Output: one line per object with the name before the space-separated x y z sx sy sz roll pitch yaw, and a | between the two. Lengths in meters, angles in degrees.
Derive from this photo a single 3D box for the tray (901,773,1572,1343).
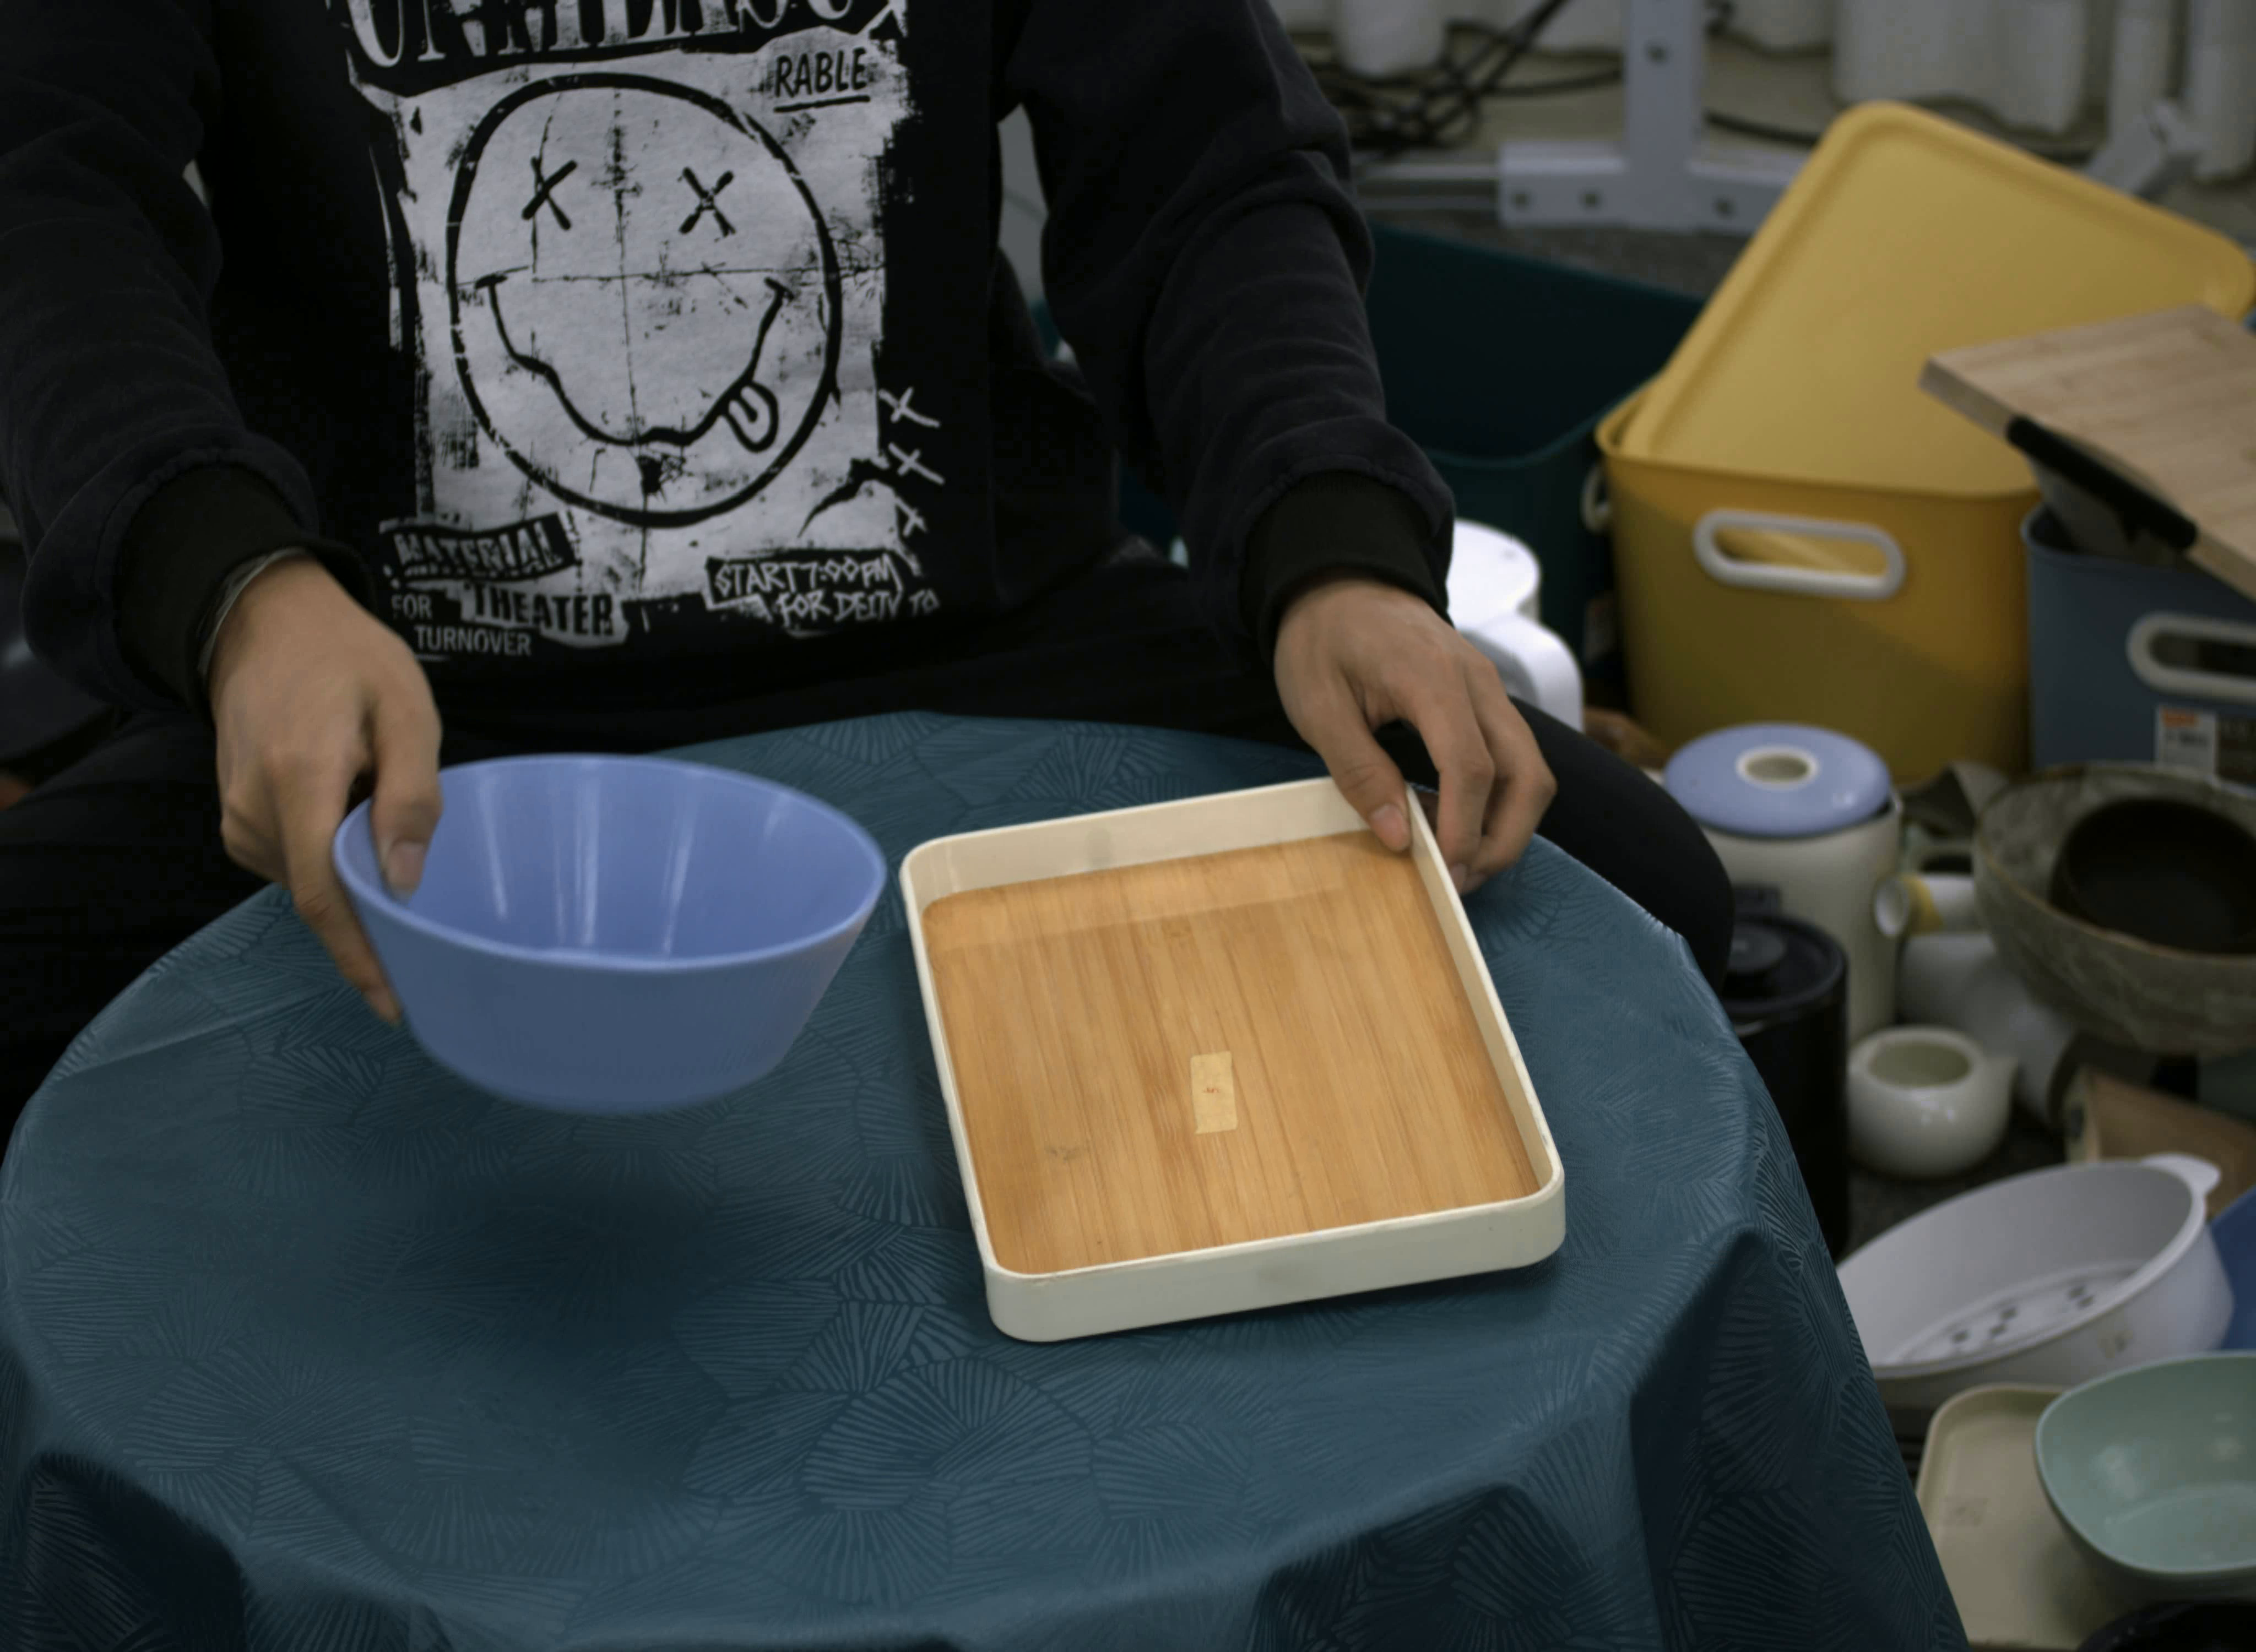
tray | 0.031 0.073 1.911 0.191 0.027 0.304 -9 28 -4

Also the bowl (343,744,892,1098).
bowl | -0.166 0.035 1.806 0.175 0.070 0.178 6 21 -2
